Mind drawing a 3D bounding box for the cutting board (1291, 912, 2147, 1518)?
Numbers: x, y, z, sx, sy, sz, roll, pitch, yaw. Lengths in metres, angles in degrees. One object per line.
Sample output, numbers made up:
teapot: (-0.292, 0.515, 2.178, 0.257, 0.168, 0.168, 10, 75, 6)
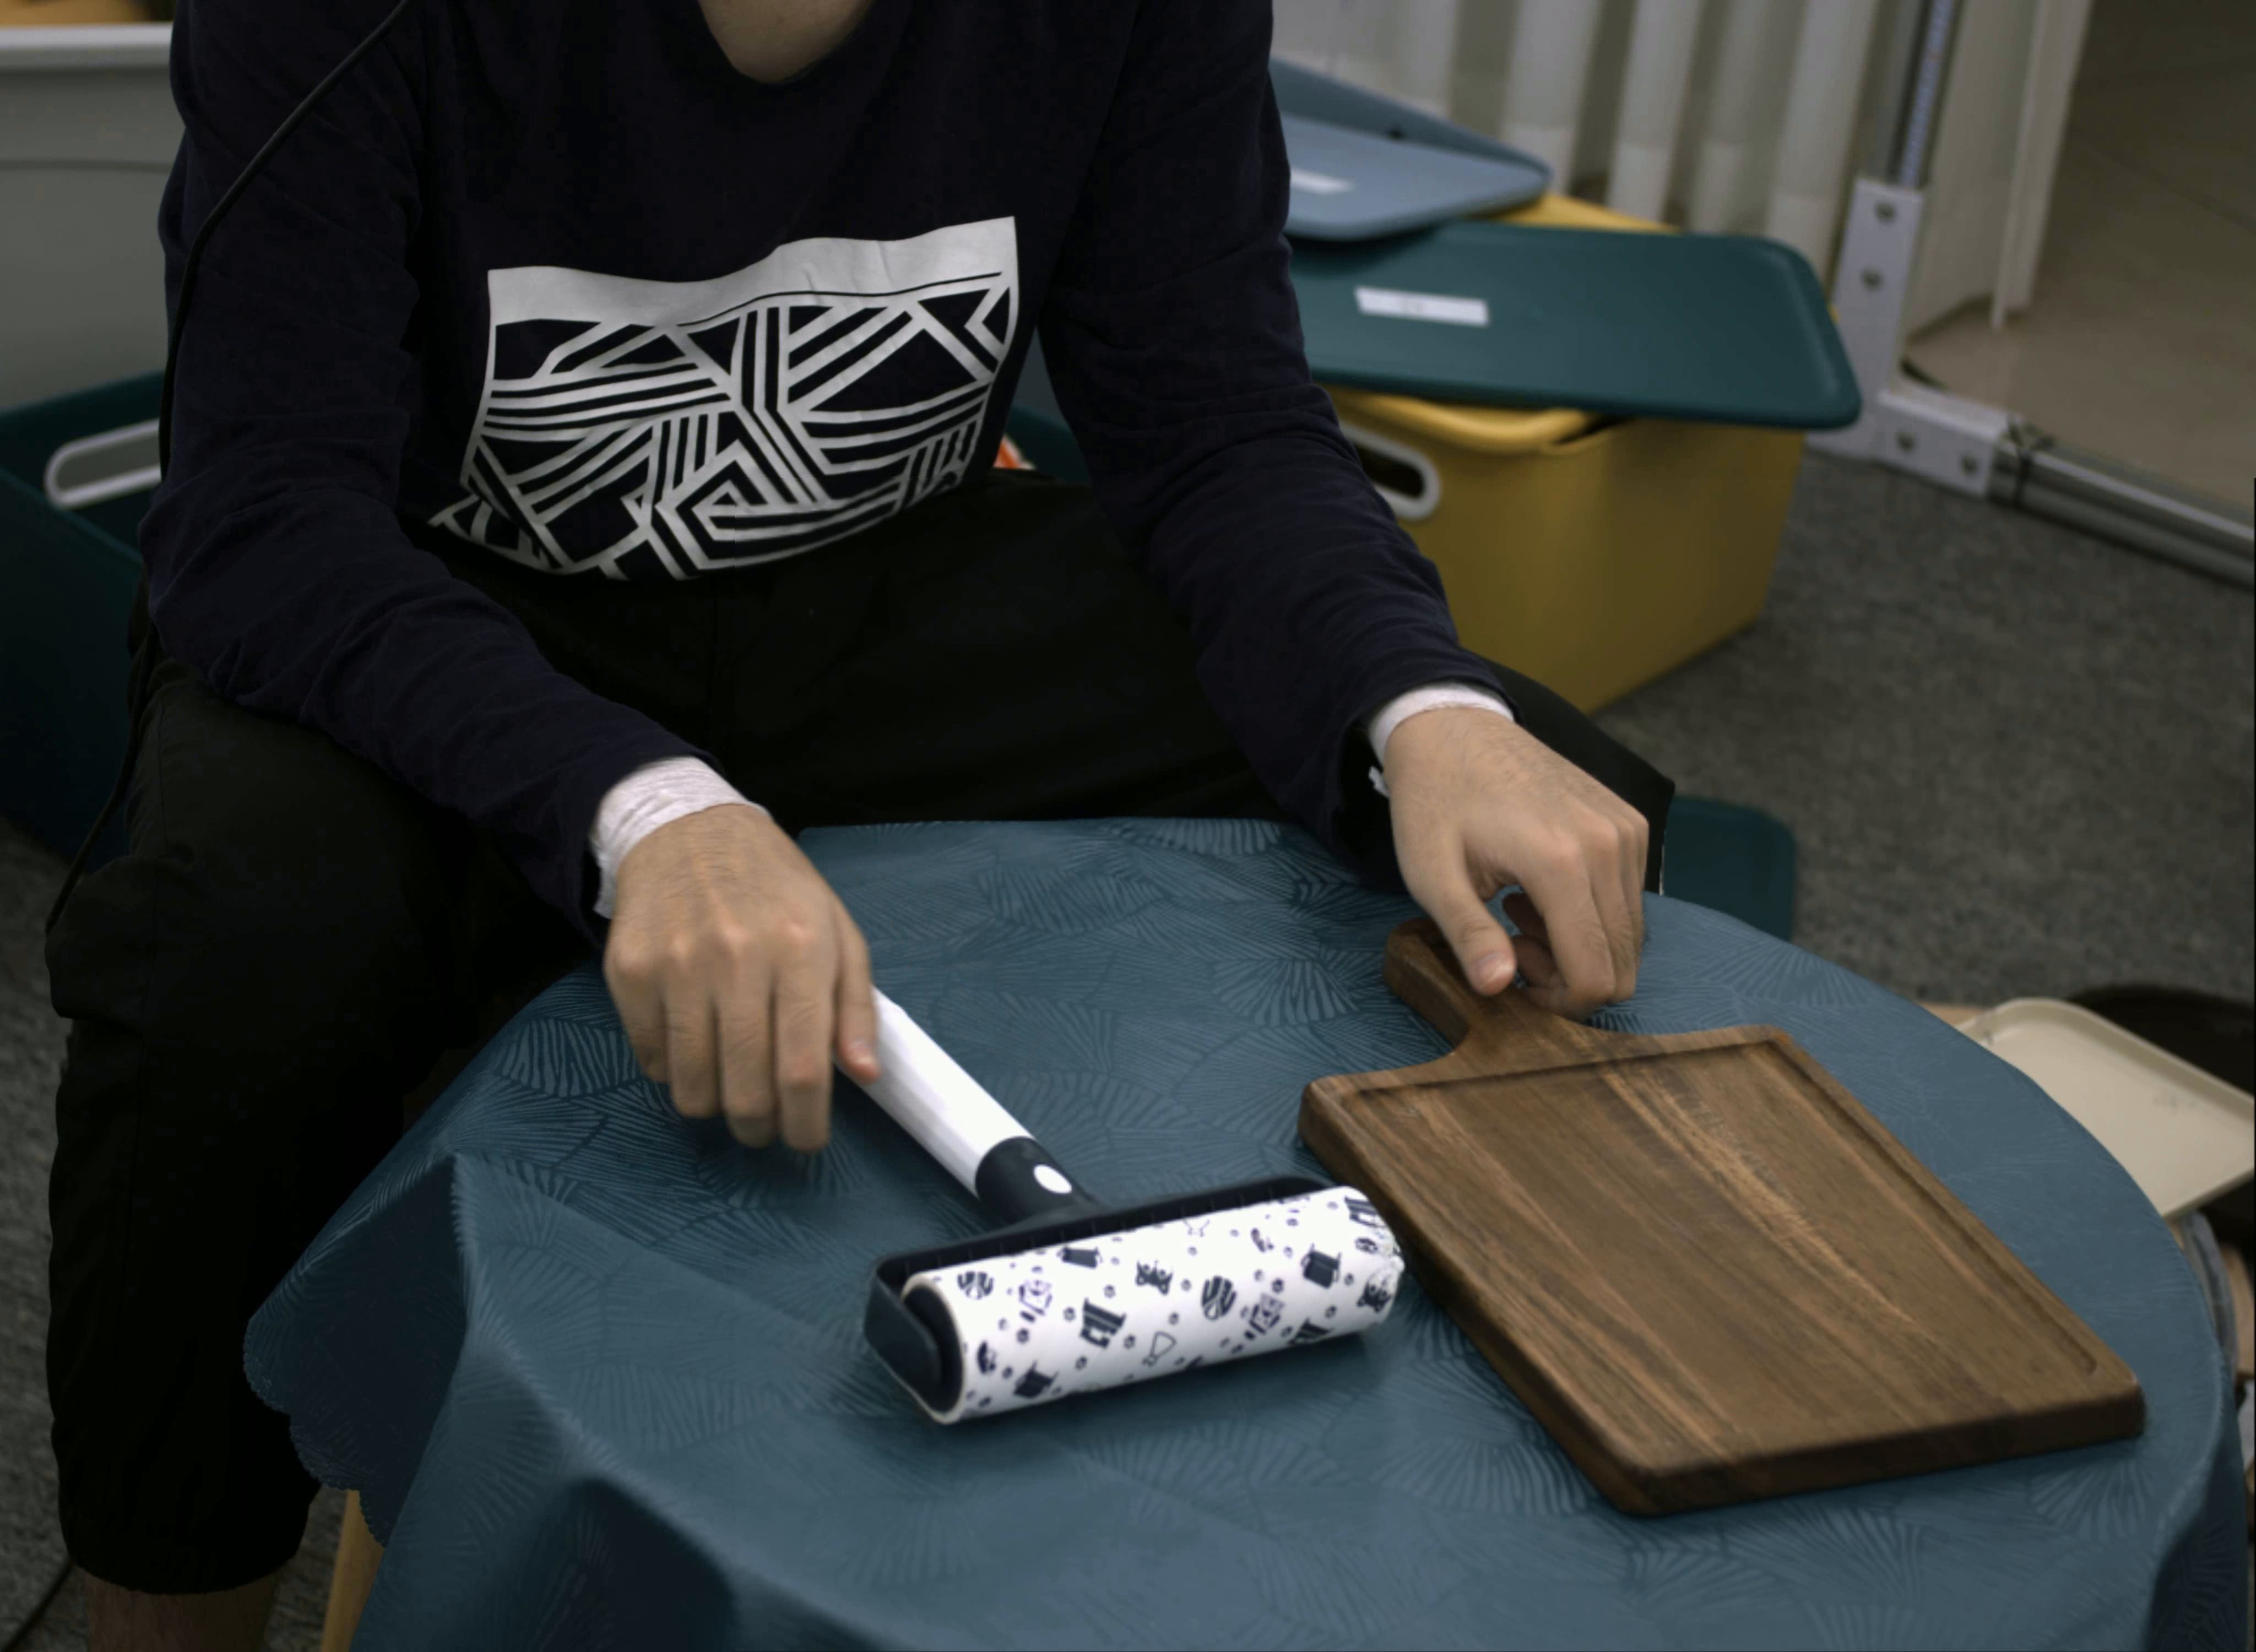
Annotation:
cutting board: (0.175, 0.120, 1.828, 0.200, 0.023, 0.355, -6, 29, -24)

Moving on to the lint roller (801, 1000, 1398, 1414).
lint roller: (-0.046, 0.110, 1.777, 0.175, 0.050, 0.249, -11, 29, -29)
